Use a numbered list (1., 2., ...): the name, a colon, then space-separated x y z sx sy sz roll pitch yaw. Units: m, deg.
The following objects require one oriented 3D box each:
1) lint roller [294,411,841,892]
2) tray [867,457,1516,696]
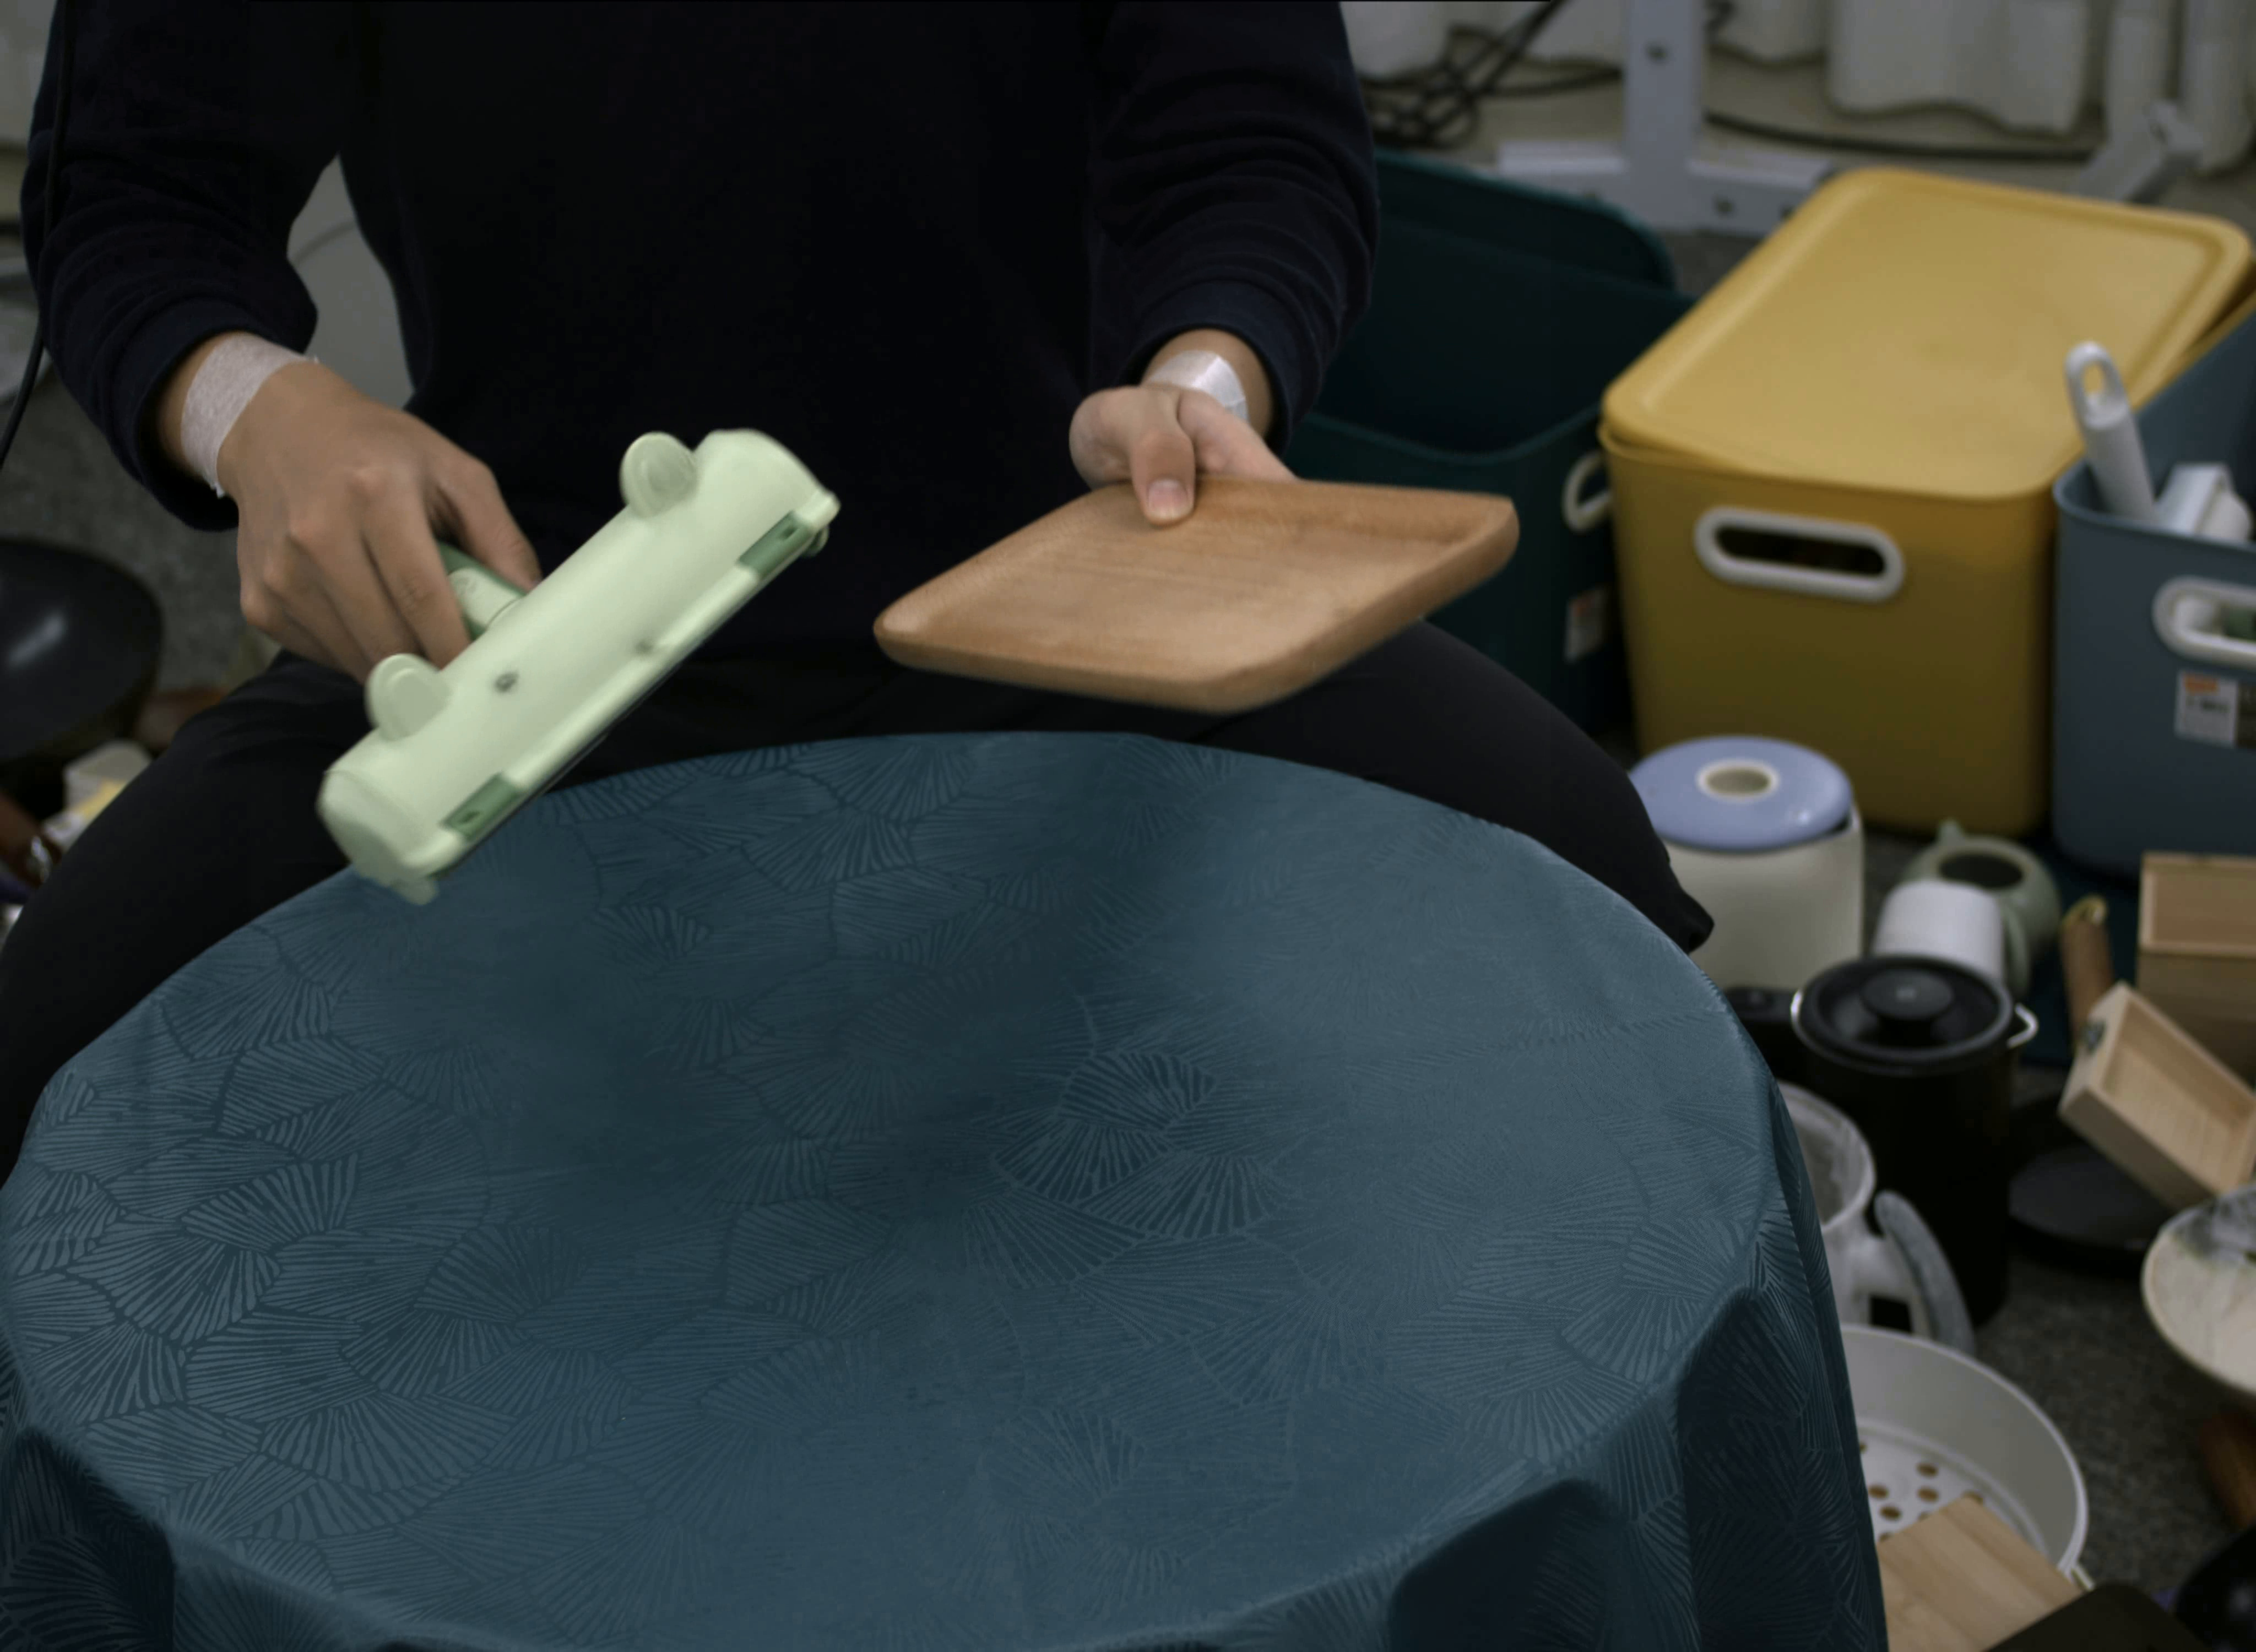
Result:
1. lint roller: -0.221 -0.086 1.877 0.183 0.081 0.201 29 61 30
2. tray: 0.018 -0.081 1.808 0.132 0.023 0.249 -28 18 -25
